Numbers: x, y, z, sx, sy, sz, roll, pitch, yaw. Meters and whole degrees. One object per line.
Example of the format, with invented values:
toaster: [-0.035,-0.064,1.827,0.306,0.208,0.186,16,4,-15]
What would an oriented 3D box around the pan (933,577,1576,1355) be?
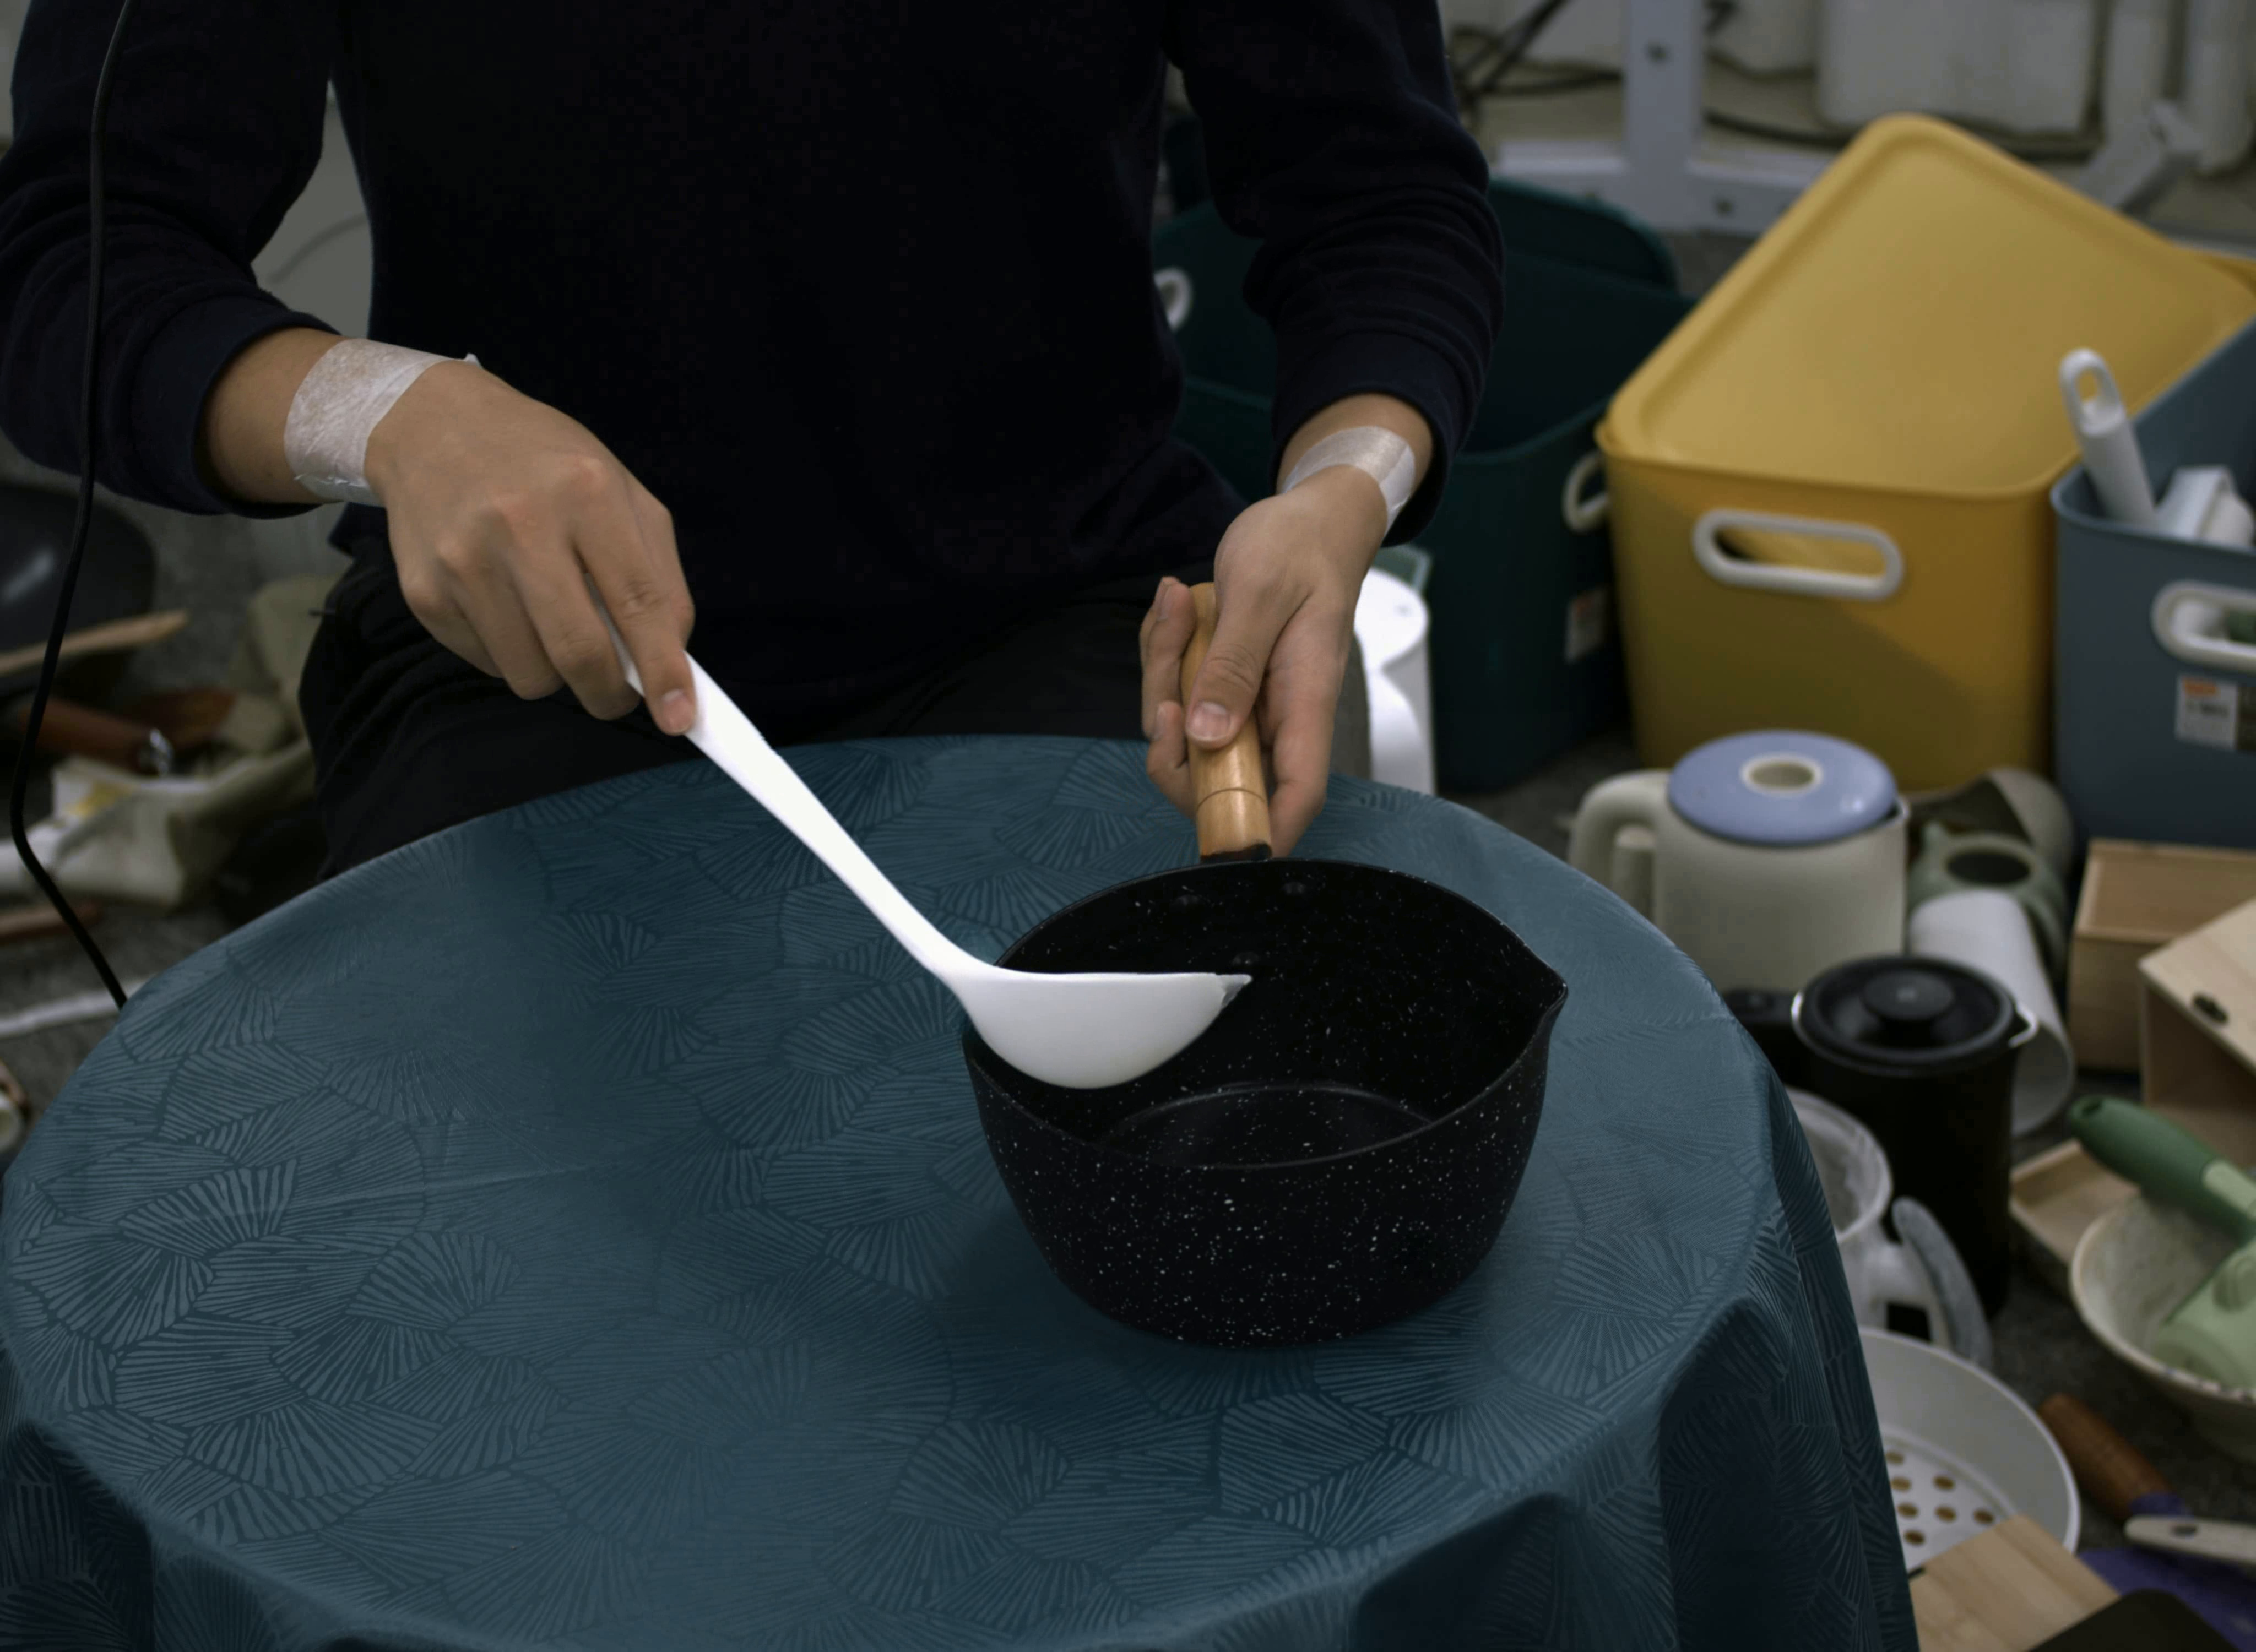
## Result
pan: [0.037,0.043,1.881,0.206,0.107,0.348,-6,31,-2]

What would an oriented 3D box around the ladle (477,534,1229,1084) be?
ladle: [-0.093,-0.015,1.754,0.294,0.069,0.091,40,26,28]
